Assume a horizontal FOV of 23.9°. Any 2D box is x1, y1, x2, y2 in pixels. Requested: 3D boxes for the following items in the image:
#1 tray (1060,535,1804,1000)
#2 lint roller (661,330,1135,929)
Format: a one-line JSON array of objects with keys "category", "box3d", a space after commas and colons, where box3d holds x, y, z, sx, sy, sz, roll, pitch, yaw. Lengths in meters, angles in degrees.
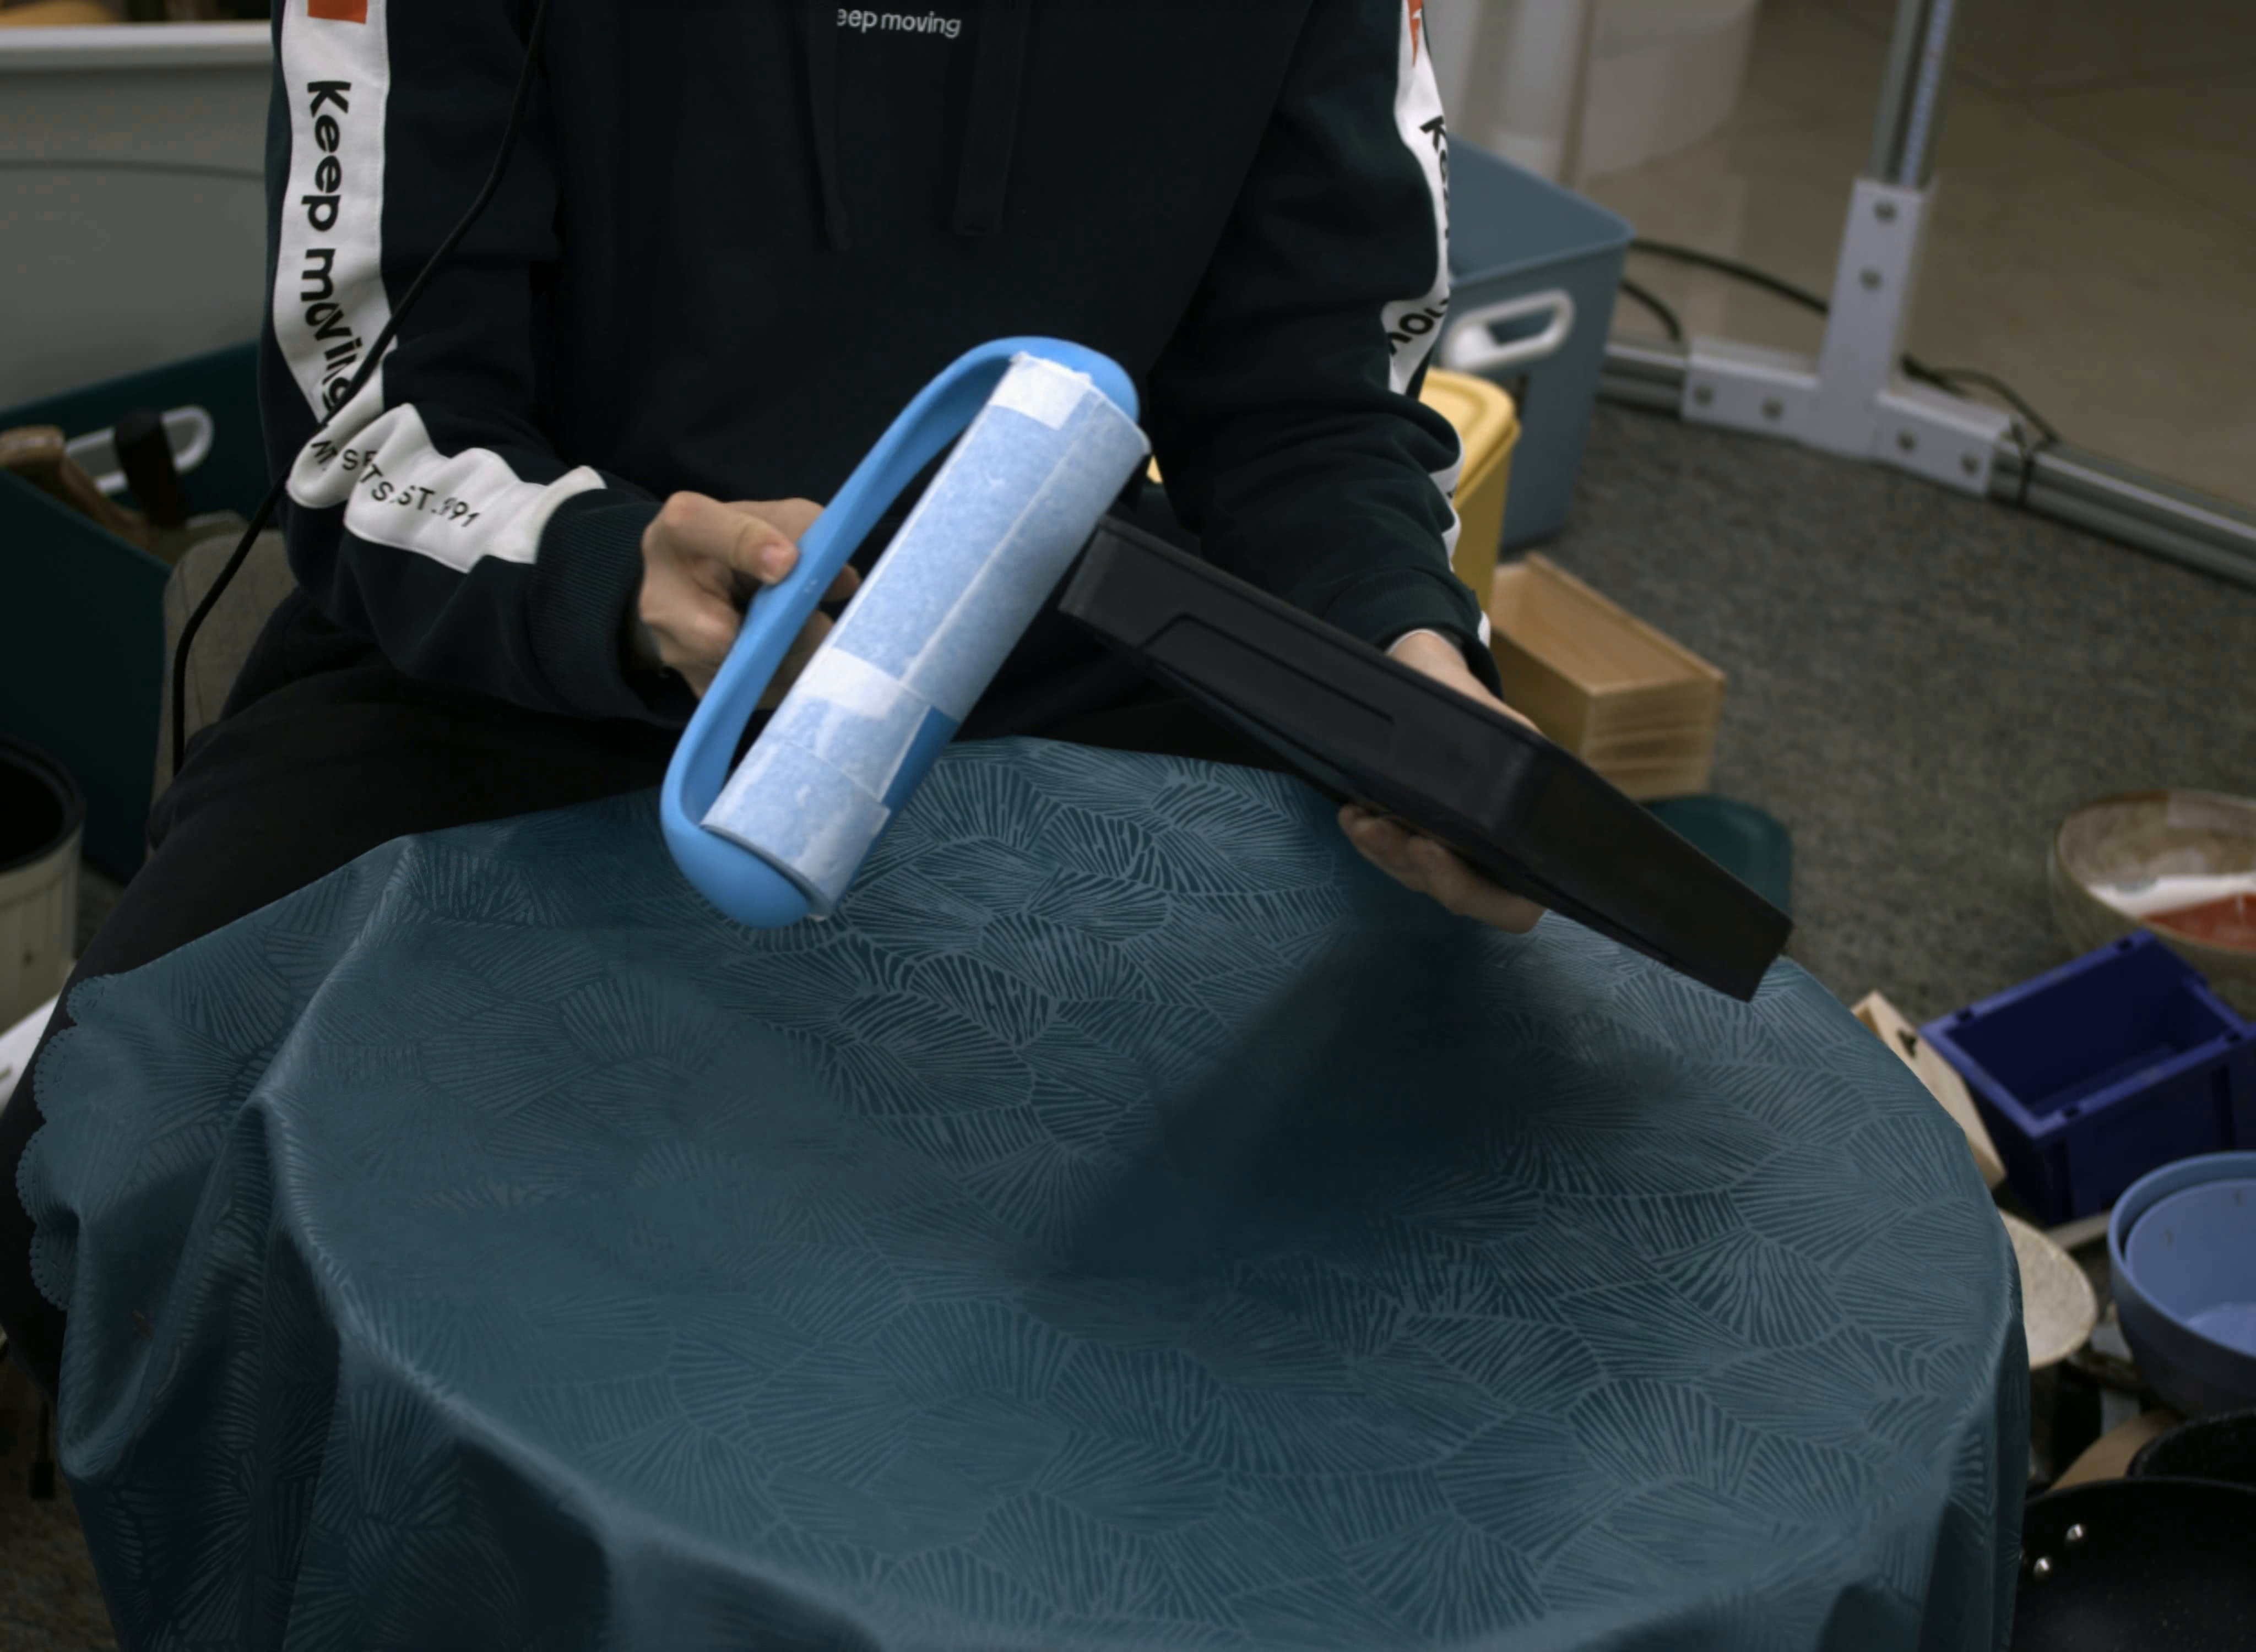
[{"category": "tray", "box3d": [0.108, -0.015, 1.801, 0.185, 0.037, 0.316, 26, 0, 24]}, {"category": "lint roller", "box3d": [-0.099, -0.065, 1.807, 0.067, 0.229, 0.181, 37, -17, -24]}]
